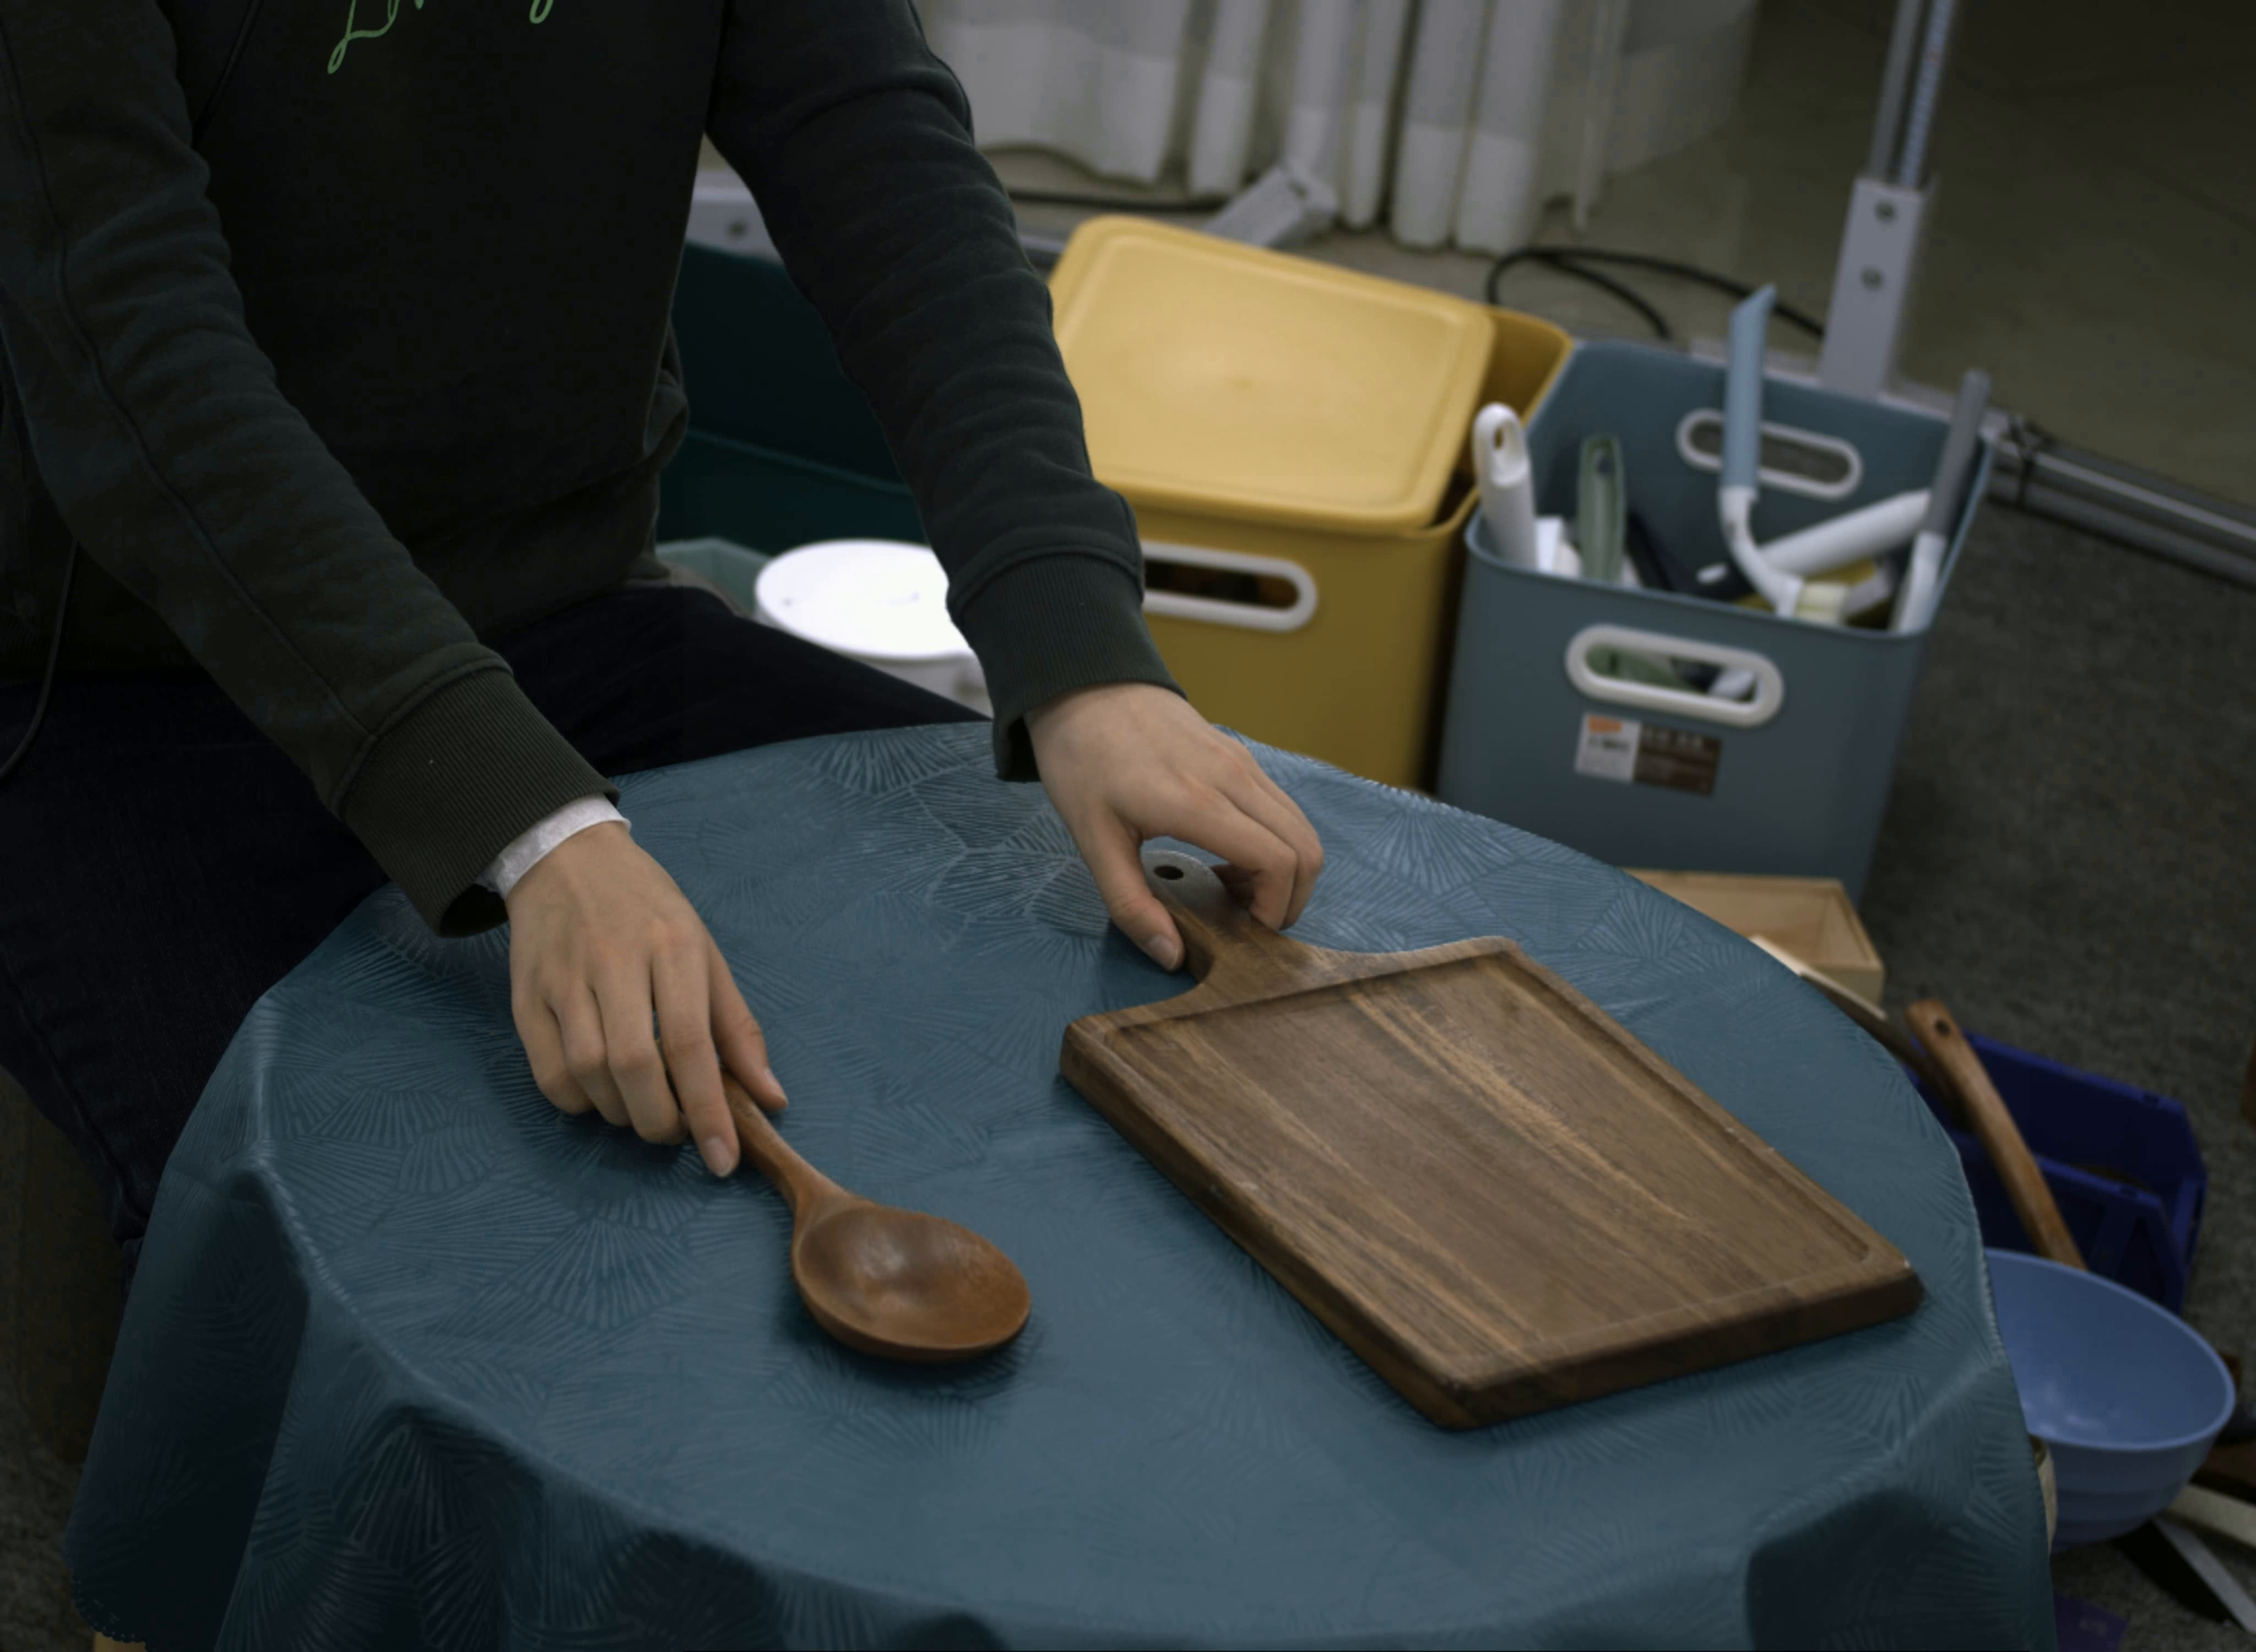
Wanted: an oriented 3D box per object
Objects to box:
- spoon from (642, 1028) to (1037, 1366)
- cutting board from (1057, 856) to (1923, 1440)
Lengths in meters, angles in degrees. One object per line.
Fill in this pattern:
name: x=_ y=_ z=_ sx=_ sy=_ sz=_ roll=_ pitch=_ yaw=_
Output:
spoon: x=-0.103 y=0.123 z=1.759 sx=0.075 sy=0.017 sz=0.218 roll=-13 pitch=33 yaw=-30
cutting board: x=0.095 y=0.096 z=1.857 sx=0.200 sy=0.023 sz=0.355 roll=-11 pitch=31 yaw=-29
